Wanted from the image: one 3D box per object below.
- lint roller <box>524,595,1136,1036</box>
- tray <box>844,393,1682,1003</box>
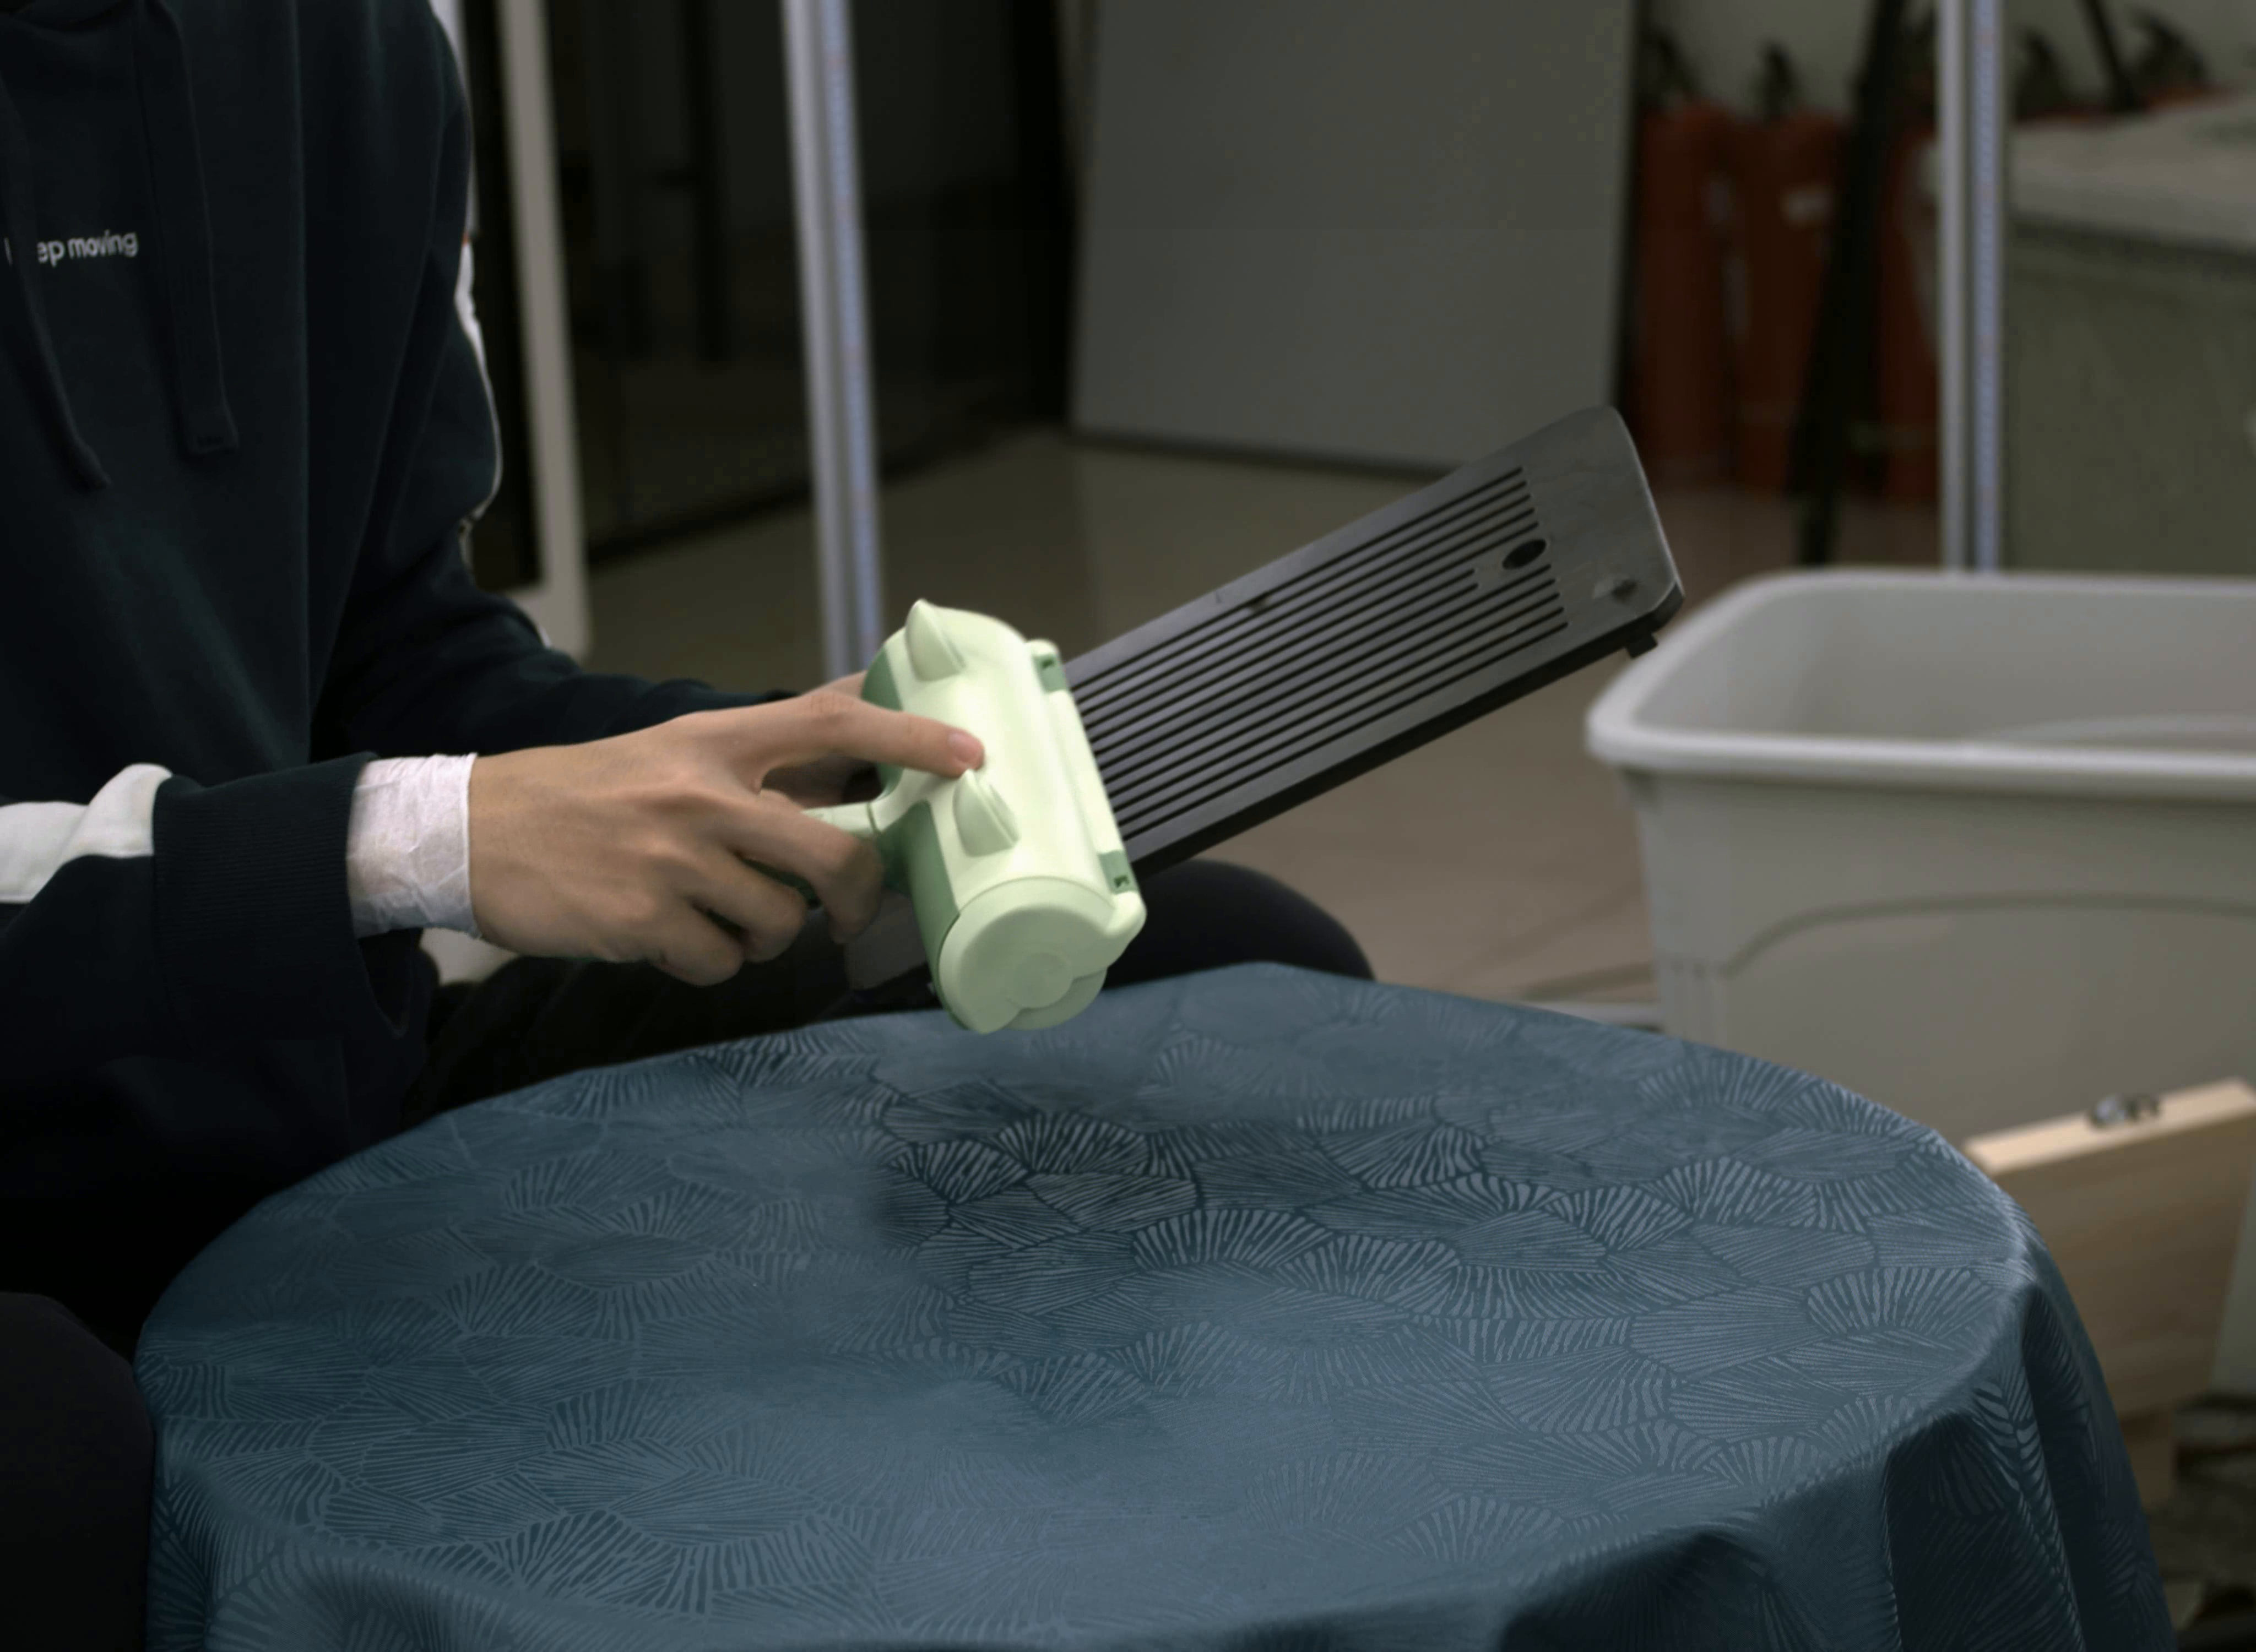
[{"bbox_3d":[-0.101,-0.005,1.696,0.180,0.083,0.200,-6,29,-7],"label":"lint roller"},{"bbox_3d":[0.040,-0.042,1.811,0.305,0.018,0.171,-27,24,10],"label":"tray"}]
